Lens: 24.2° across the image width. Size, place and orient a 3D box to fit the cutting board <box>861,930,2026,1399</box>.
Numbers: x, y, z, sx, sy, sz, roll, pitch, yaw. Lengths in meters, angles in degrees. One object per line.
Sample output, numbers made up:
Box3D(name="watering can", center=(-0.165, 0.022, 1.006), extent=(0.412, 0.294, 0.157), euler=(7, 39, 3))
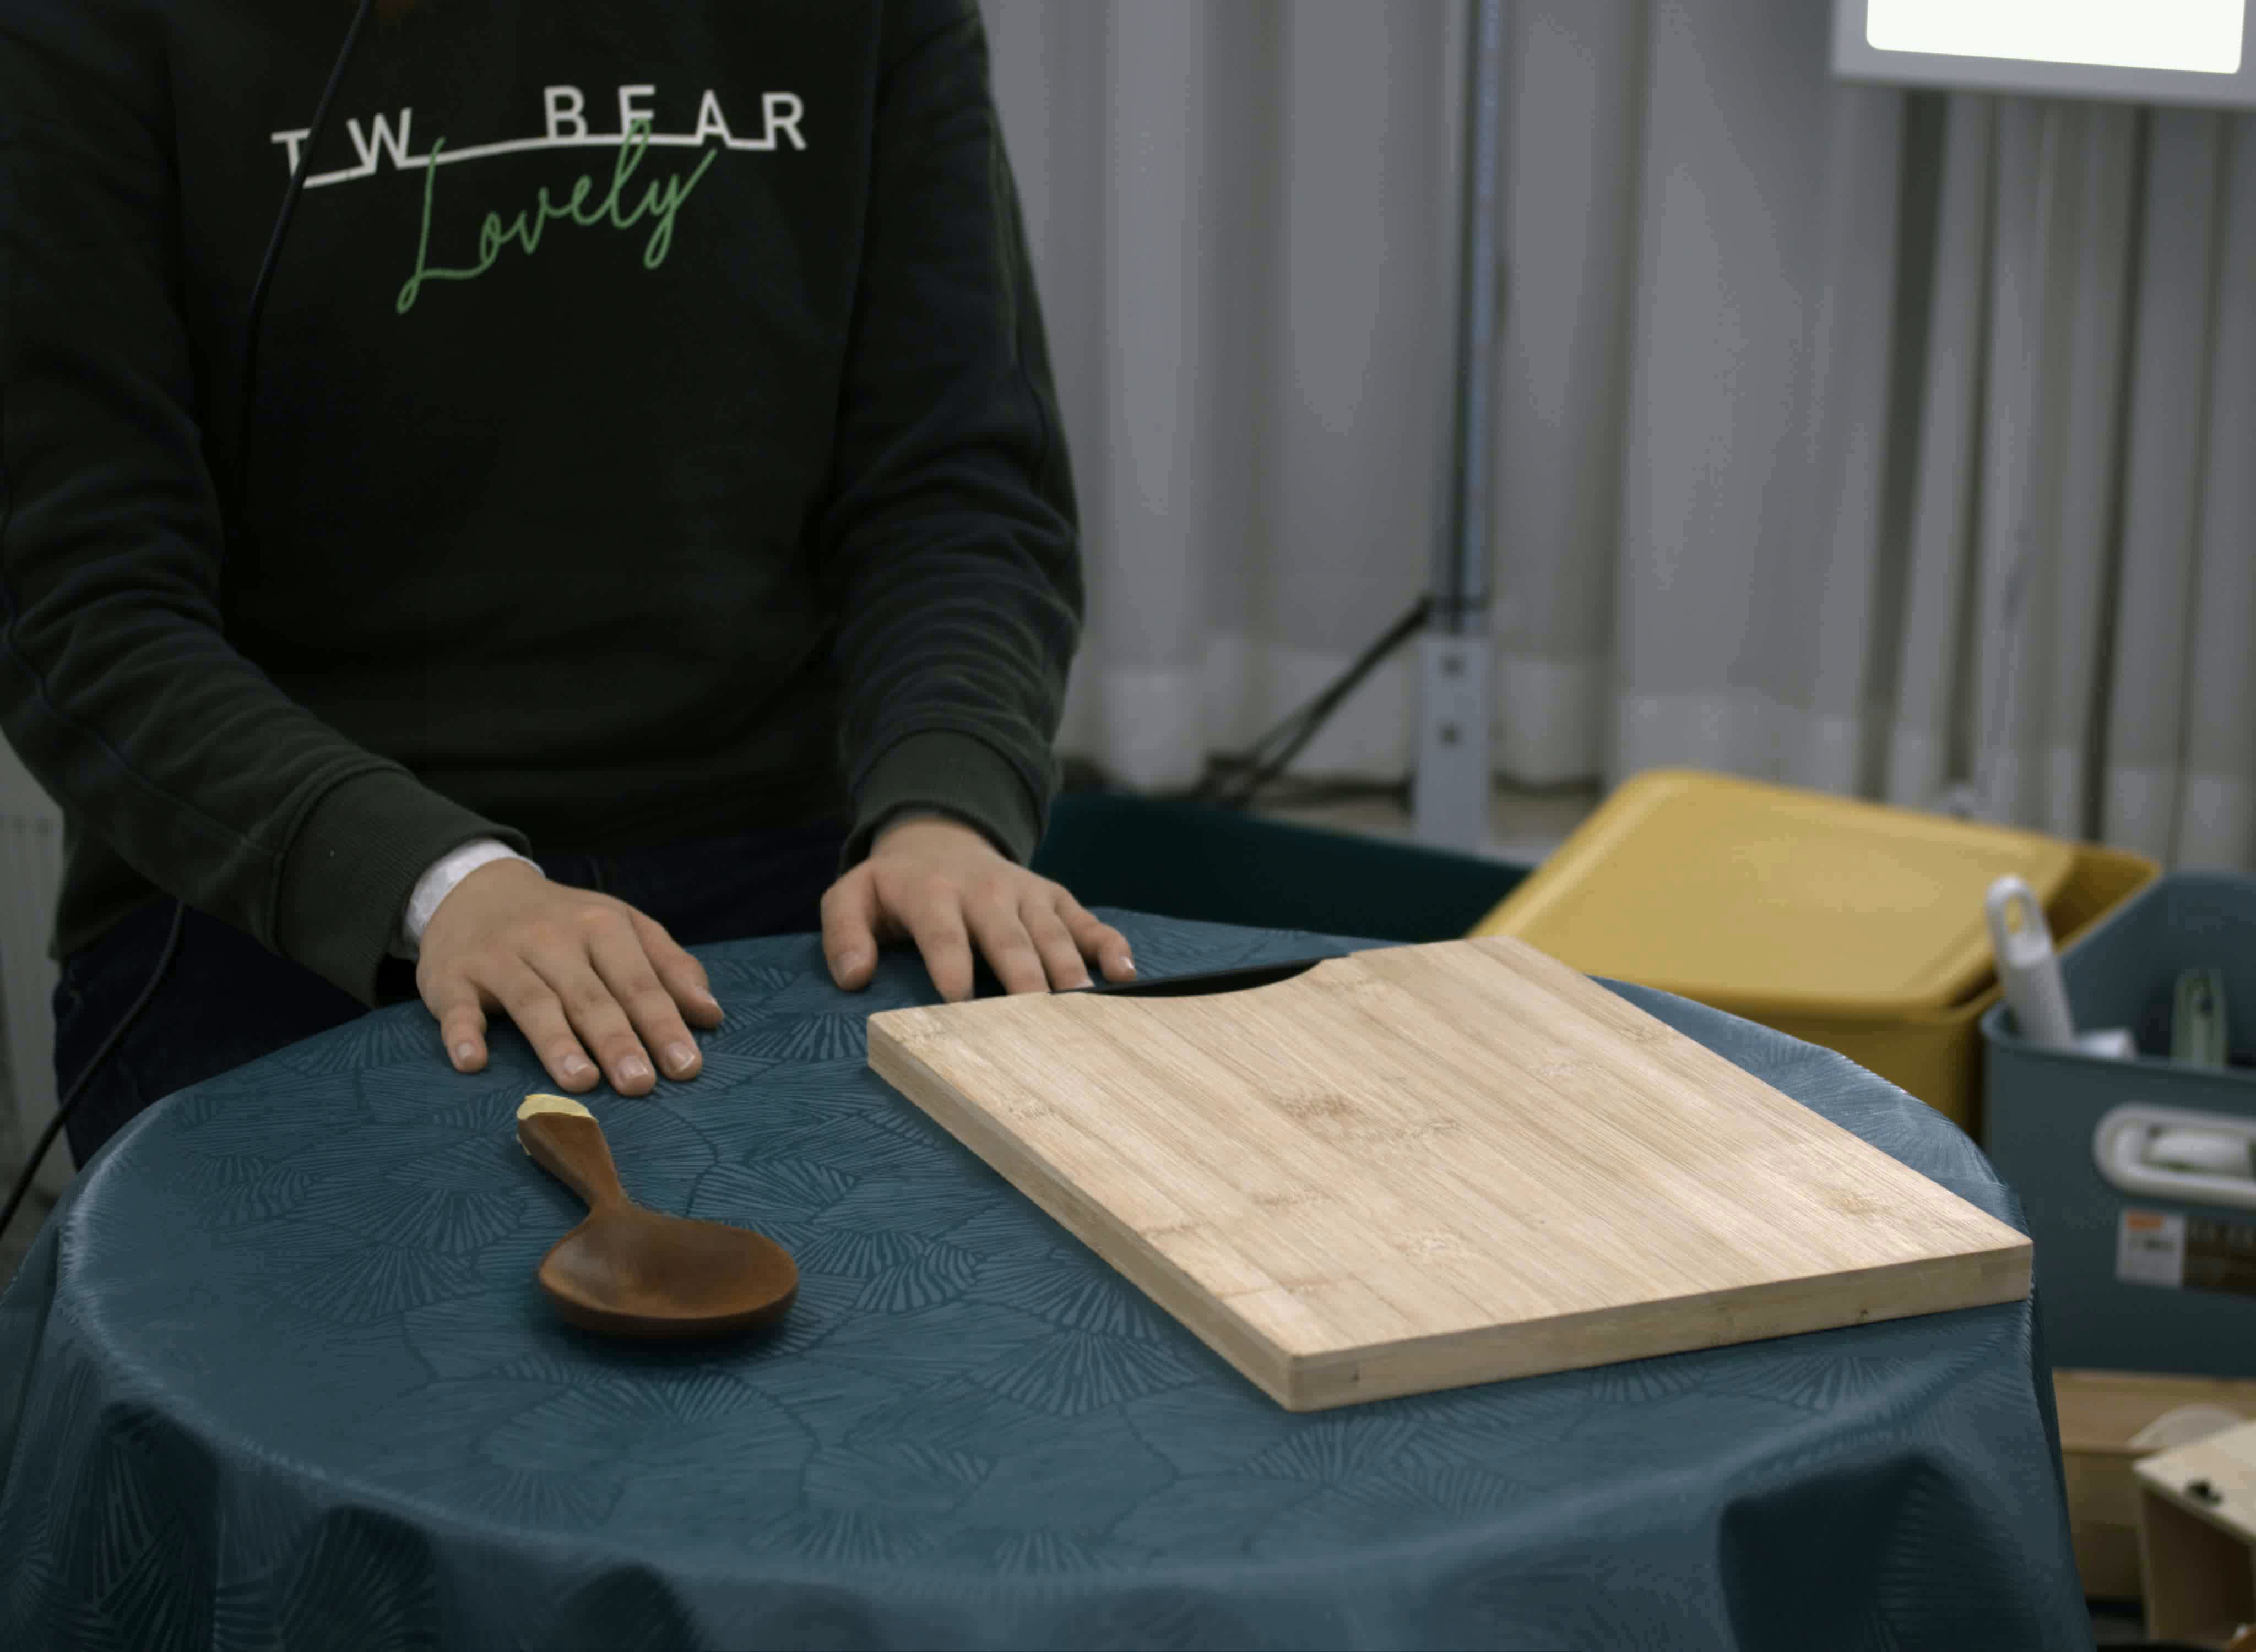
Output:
Box3D(name="cutting board", center=(0.087, 0.099, 1.648), extent=(0.251, 0.024, 0.344), euler=(-6, 17, -24))

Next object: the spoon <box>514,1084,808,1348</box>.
Box3D(name="spoon", center=(-0.150, 0.117, 1.572), extent=(0.075, 0.017, 0.213), euler=(-6, 18, -17))
